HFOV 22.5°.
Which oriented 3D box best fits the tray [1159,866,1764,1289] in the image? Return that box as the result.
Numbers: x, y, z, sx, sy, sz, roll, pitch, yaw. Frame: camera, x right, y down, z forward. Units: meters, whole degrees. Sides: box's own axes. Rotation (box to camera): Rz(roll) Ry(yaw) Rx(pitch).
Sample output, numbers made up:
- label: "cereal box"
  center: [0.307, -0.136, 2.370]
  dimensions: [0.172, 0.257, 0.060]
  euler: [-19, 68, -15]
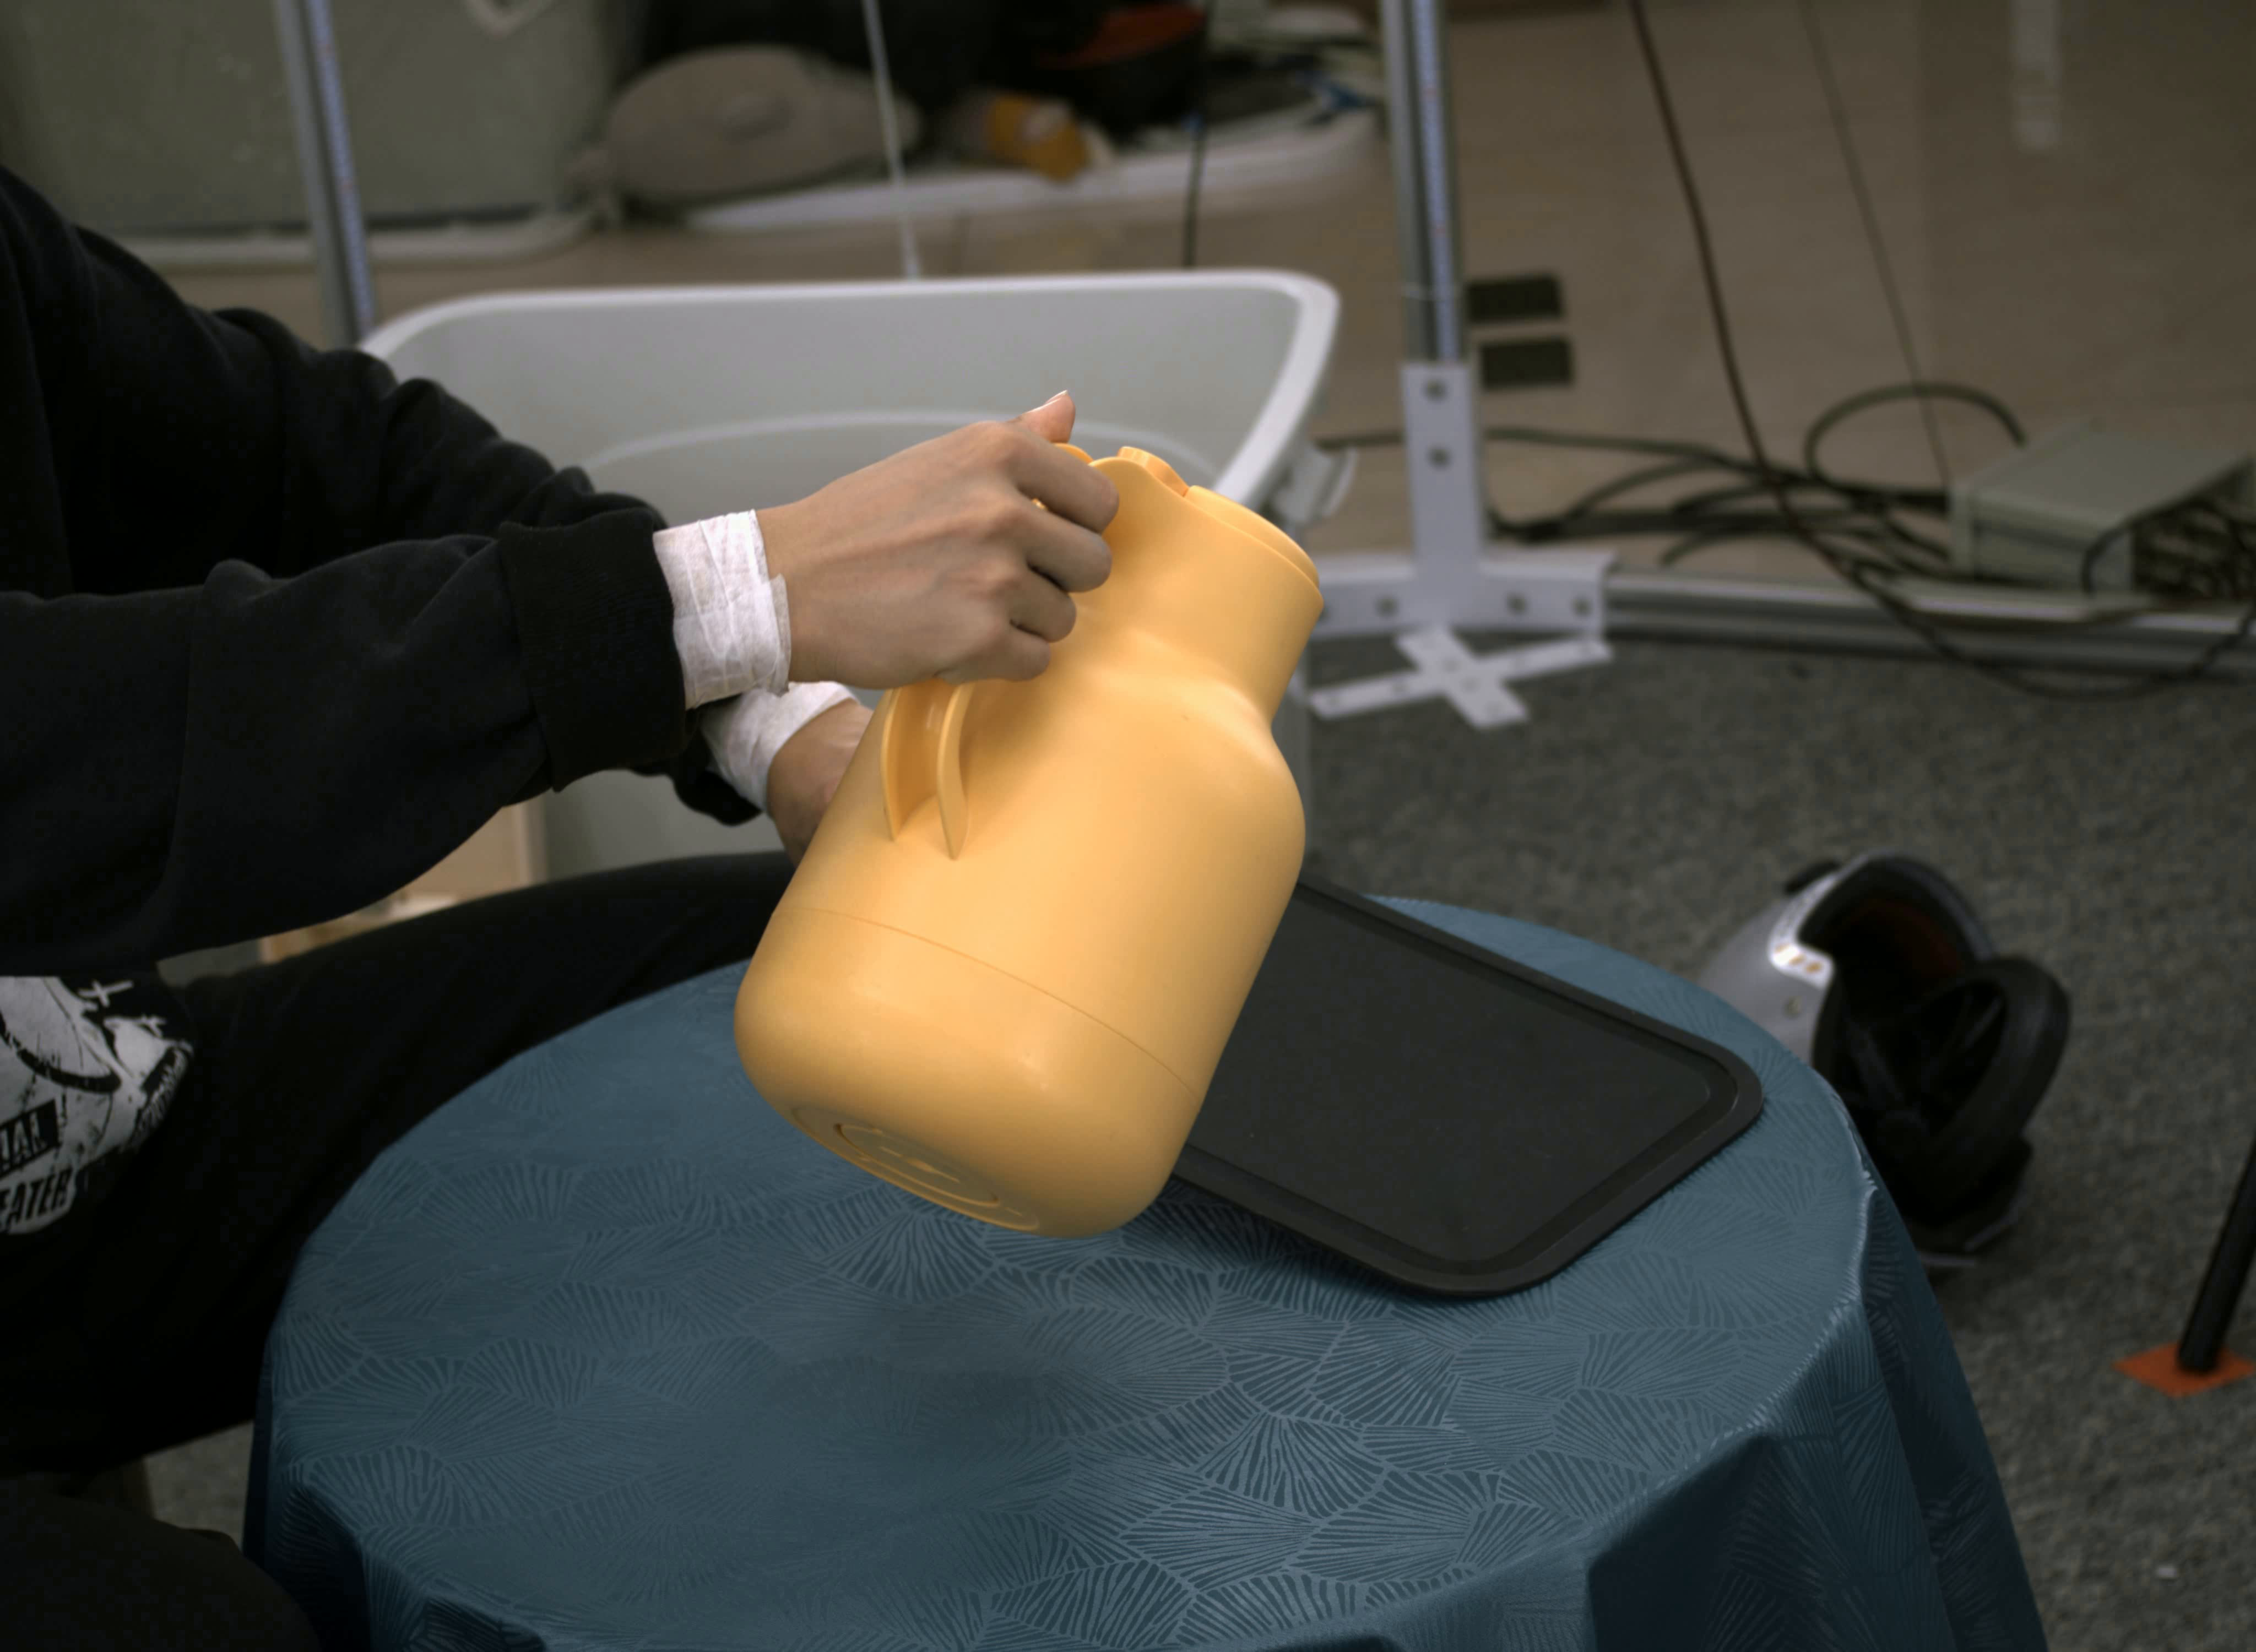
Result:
- label: "tray"
  center: [0.069, 0.083, 2.184]
  dimensions: [0.322, 0.010, 0.209]
  euler: [24, 37, 32]

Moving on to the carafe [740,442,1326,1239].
- label: "carafe"
  center: [-0.029, -0.004, 1.969]
  dimensions: [0.162, 0.205, 0.258]
  euler: [15, 74, 32]
